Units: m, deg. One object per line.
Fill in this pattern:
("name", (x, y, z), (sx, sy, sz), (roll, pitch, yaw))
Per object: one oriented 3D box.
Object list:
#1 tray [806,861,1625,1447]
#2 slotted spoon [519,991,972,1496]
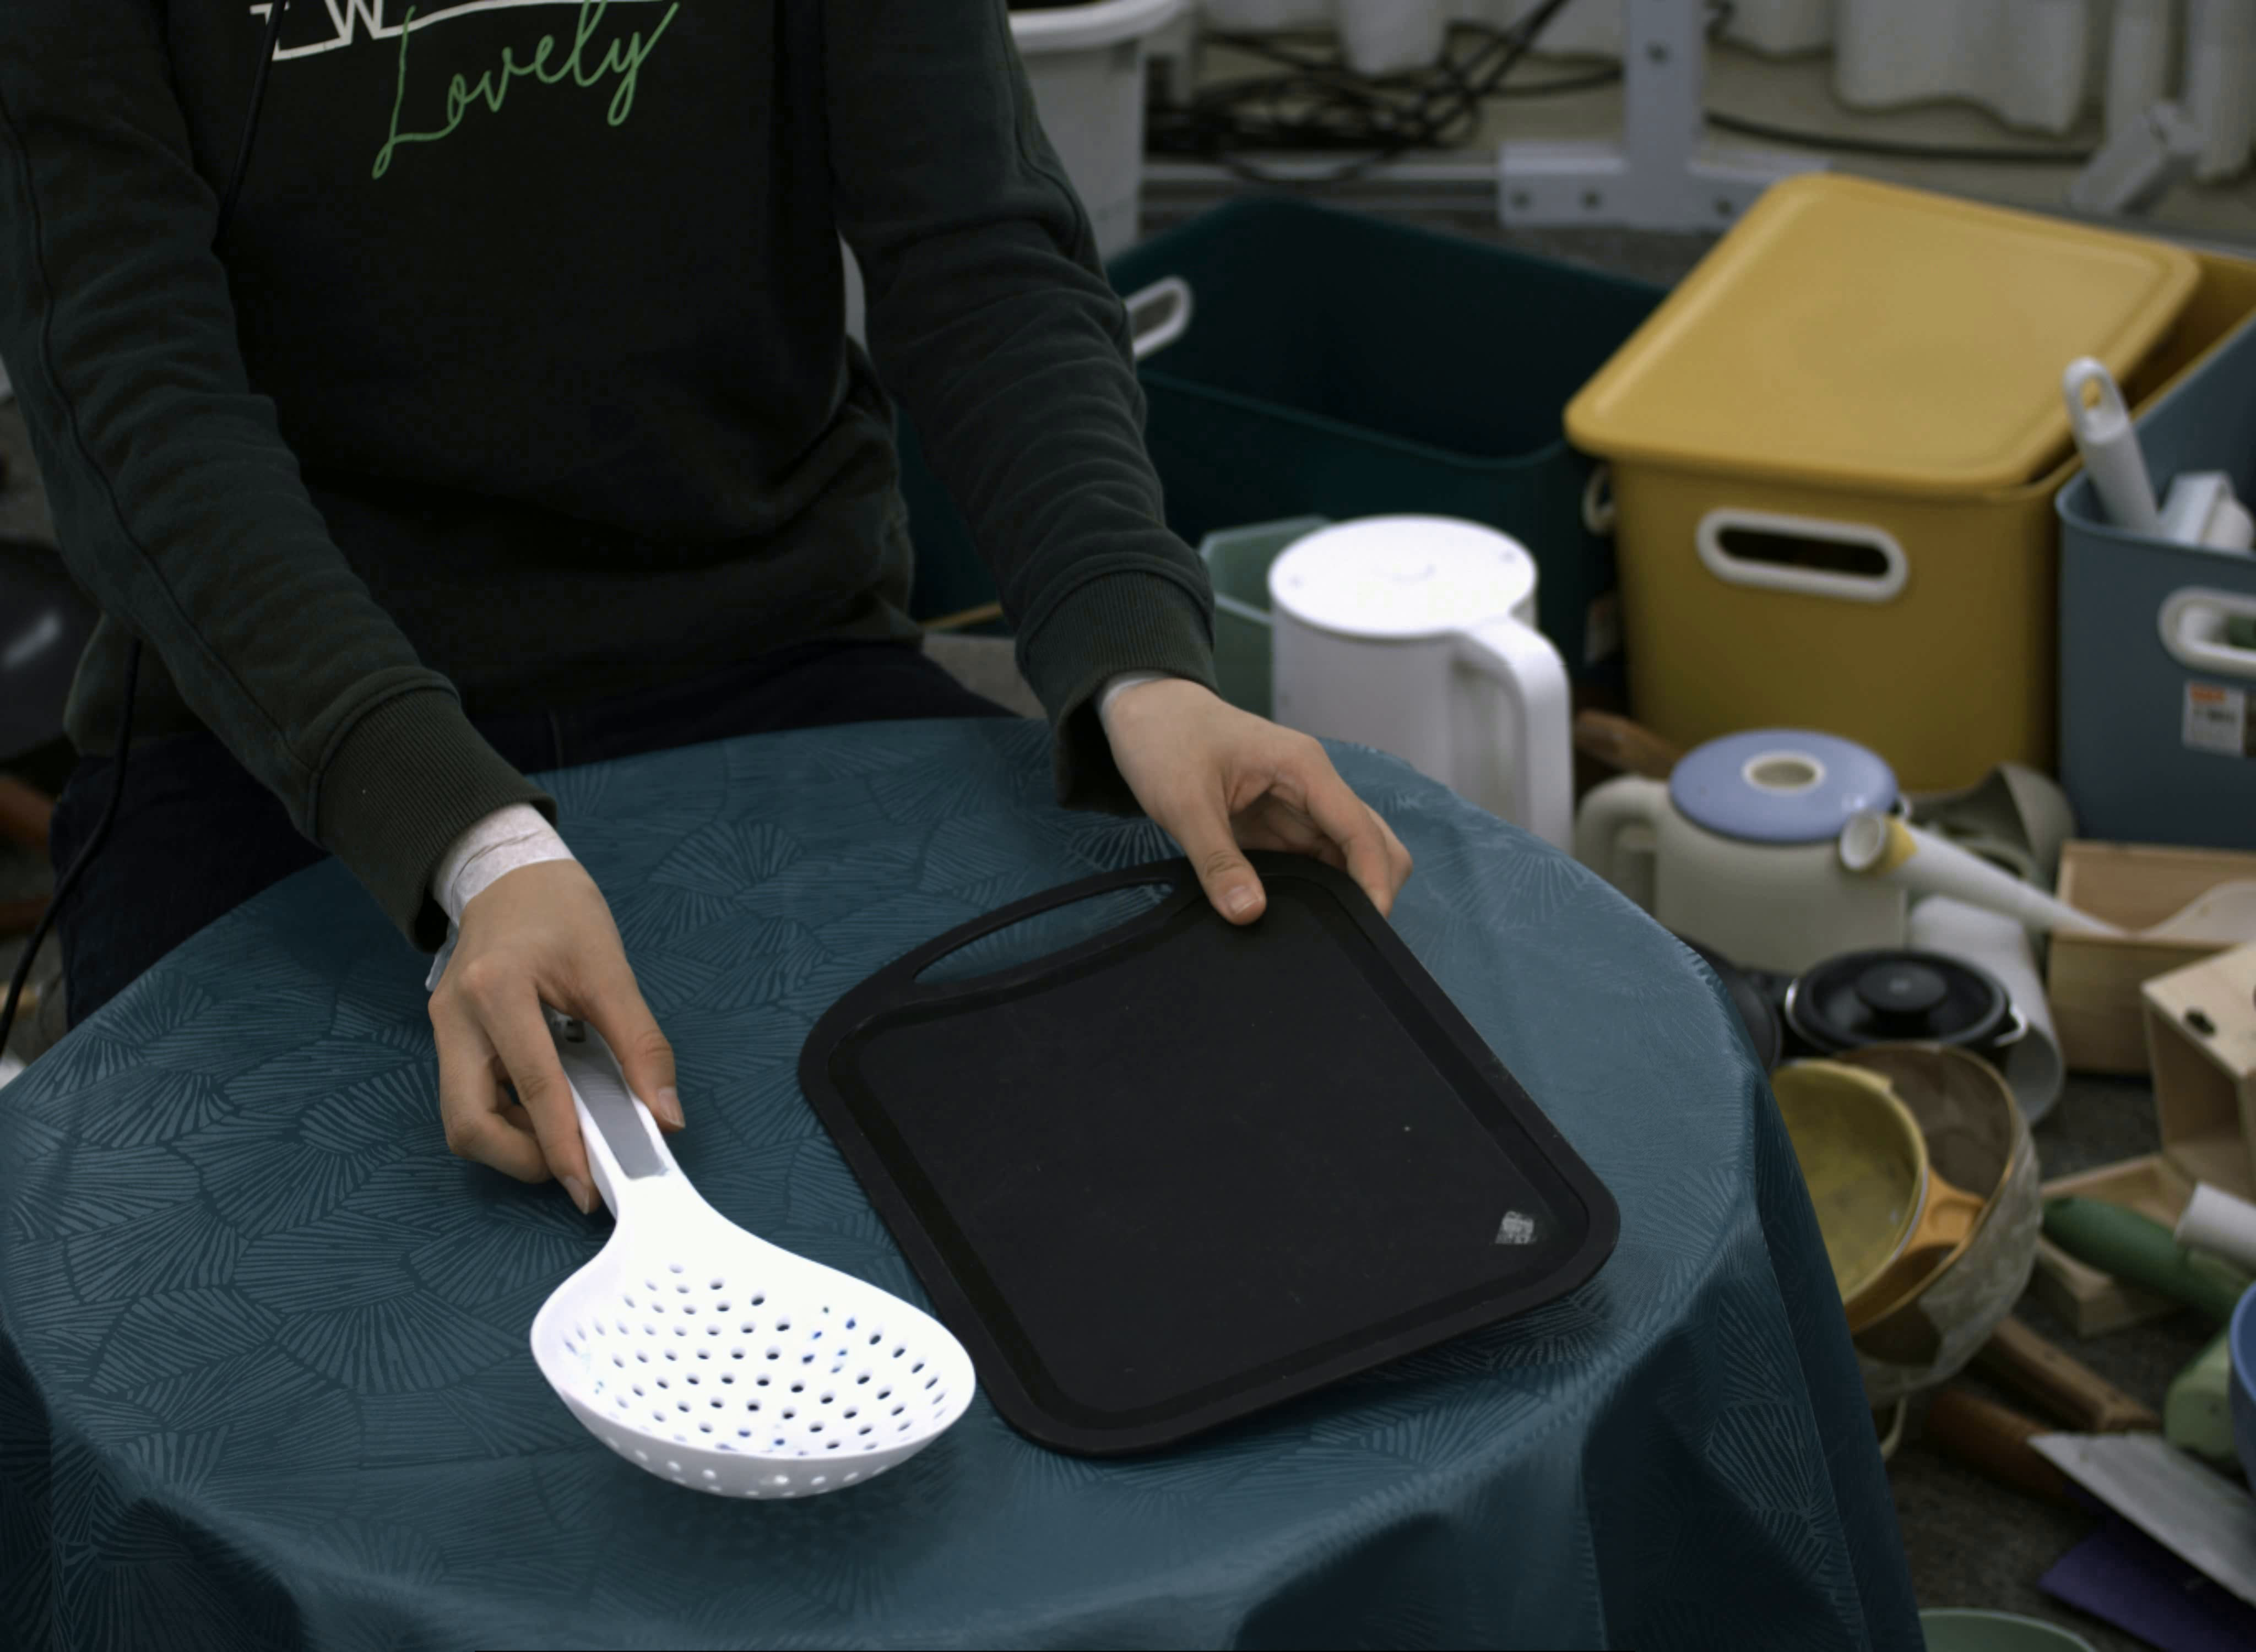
("tray", (0.018, 0.098, 1.866), (0.211, 0.009, 0.328), (-18, 30, -12))
("slotted spoon", (-0.149, 0.128, 1.806), (0.136, 0.045, 0.353), (2, 25, -20))
